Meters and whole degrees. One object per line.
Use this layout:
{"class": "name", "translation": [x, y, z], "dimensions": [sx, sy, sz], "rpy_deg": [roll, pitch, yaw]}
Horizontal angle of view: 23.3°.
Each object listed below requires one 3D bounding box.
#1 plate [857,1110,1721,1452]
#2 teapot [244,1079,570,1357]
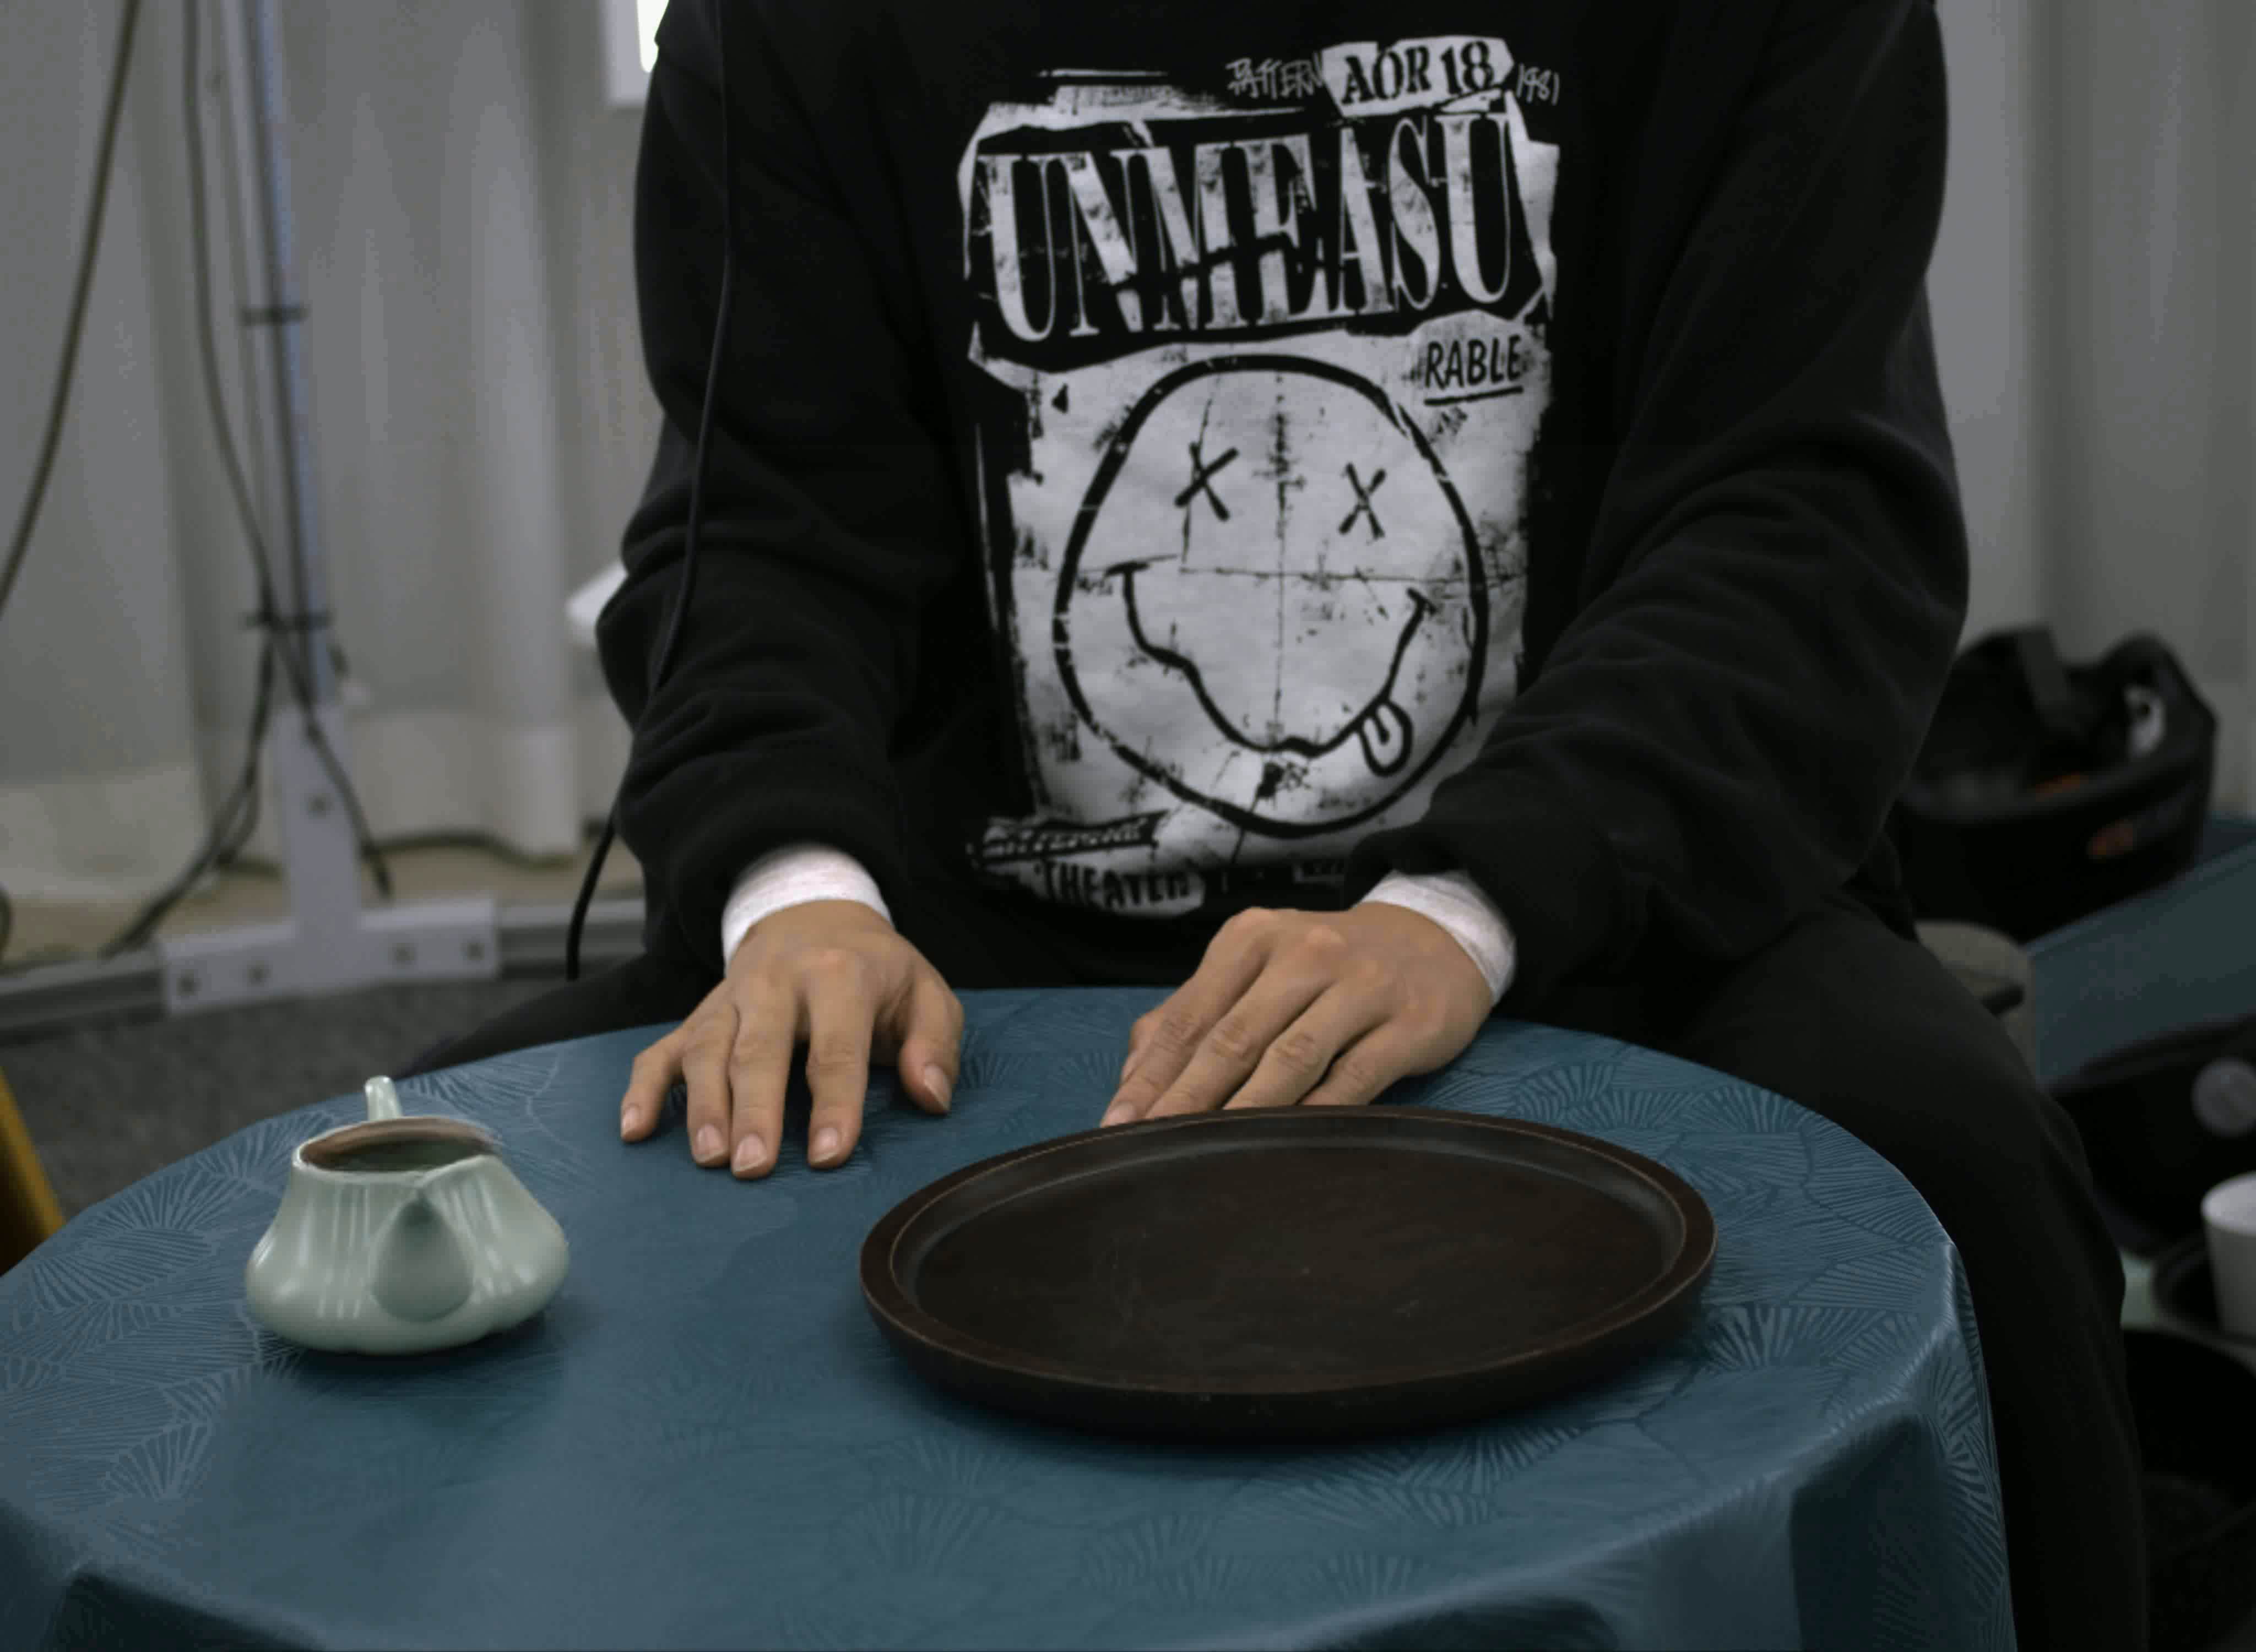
{"class": "plate", "translation": [0.047, 0.130, 1.600], "dimensions": [0.254, 0.029, 0.256], "rpy_deg": [-4, 16, 1]}
{"class": "teapot", "translation": [-0.215, 0.119, 1.623], "dimensions": [0.096, 0.061, 0.138], "rpy_deg": [-8, 16, -14]}
